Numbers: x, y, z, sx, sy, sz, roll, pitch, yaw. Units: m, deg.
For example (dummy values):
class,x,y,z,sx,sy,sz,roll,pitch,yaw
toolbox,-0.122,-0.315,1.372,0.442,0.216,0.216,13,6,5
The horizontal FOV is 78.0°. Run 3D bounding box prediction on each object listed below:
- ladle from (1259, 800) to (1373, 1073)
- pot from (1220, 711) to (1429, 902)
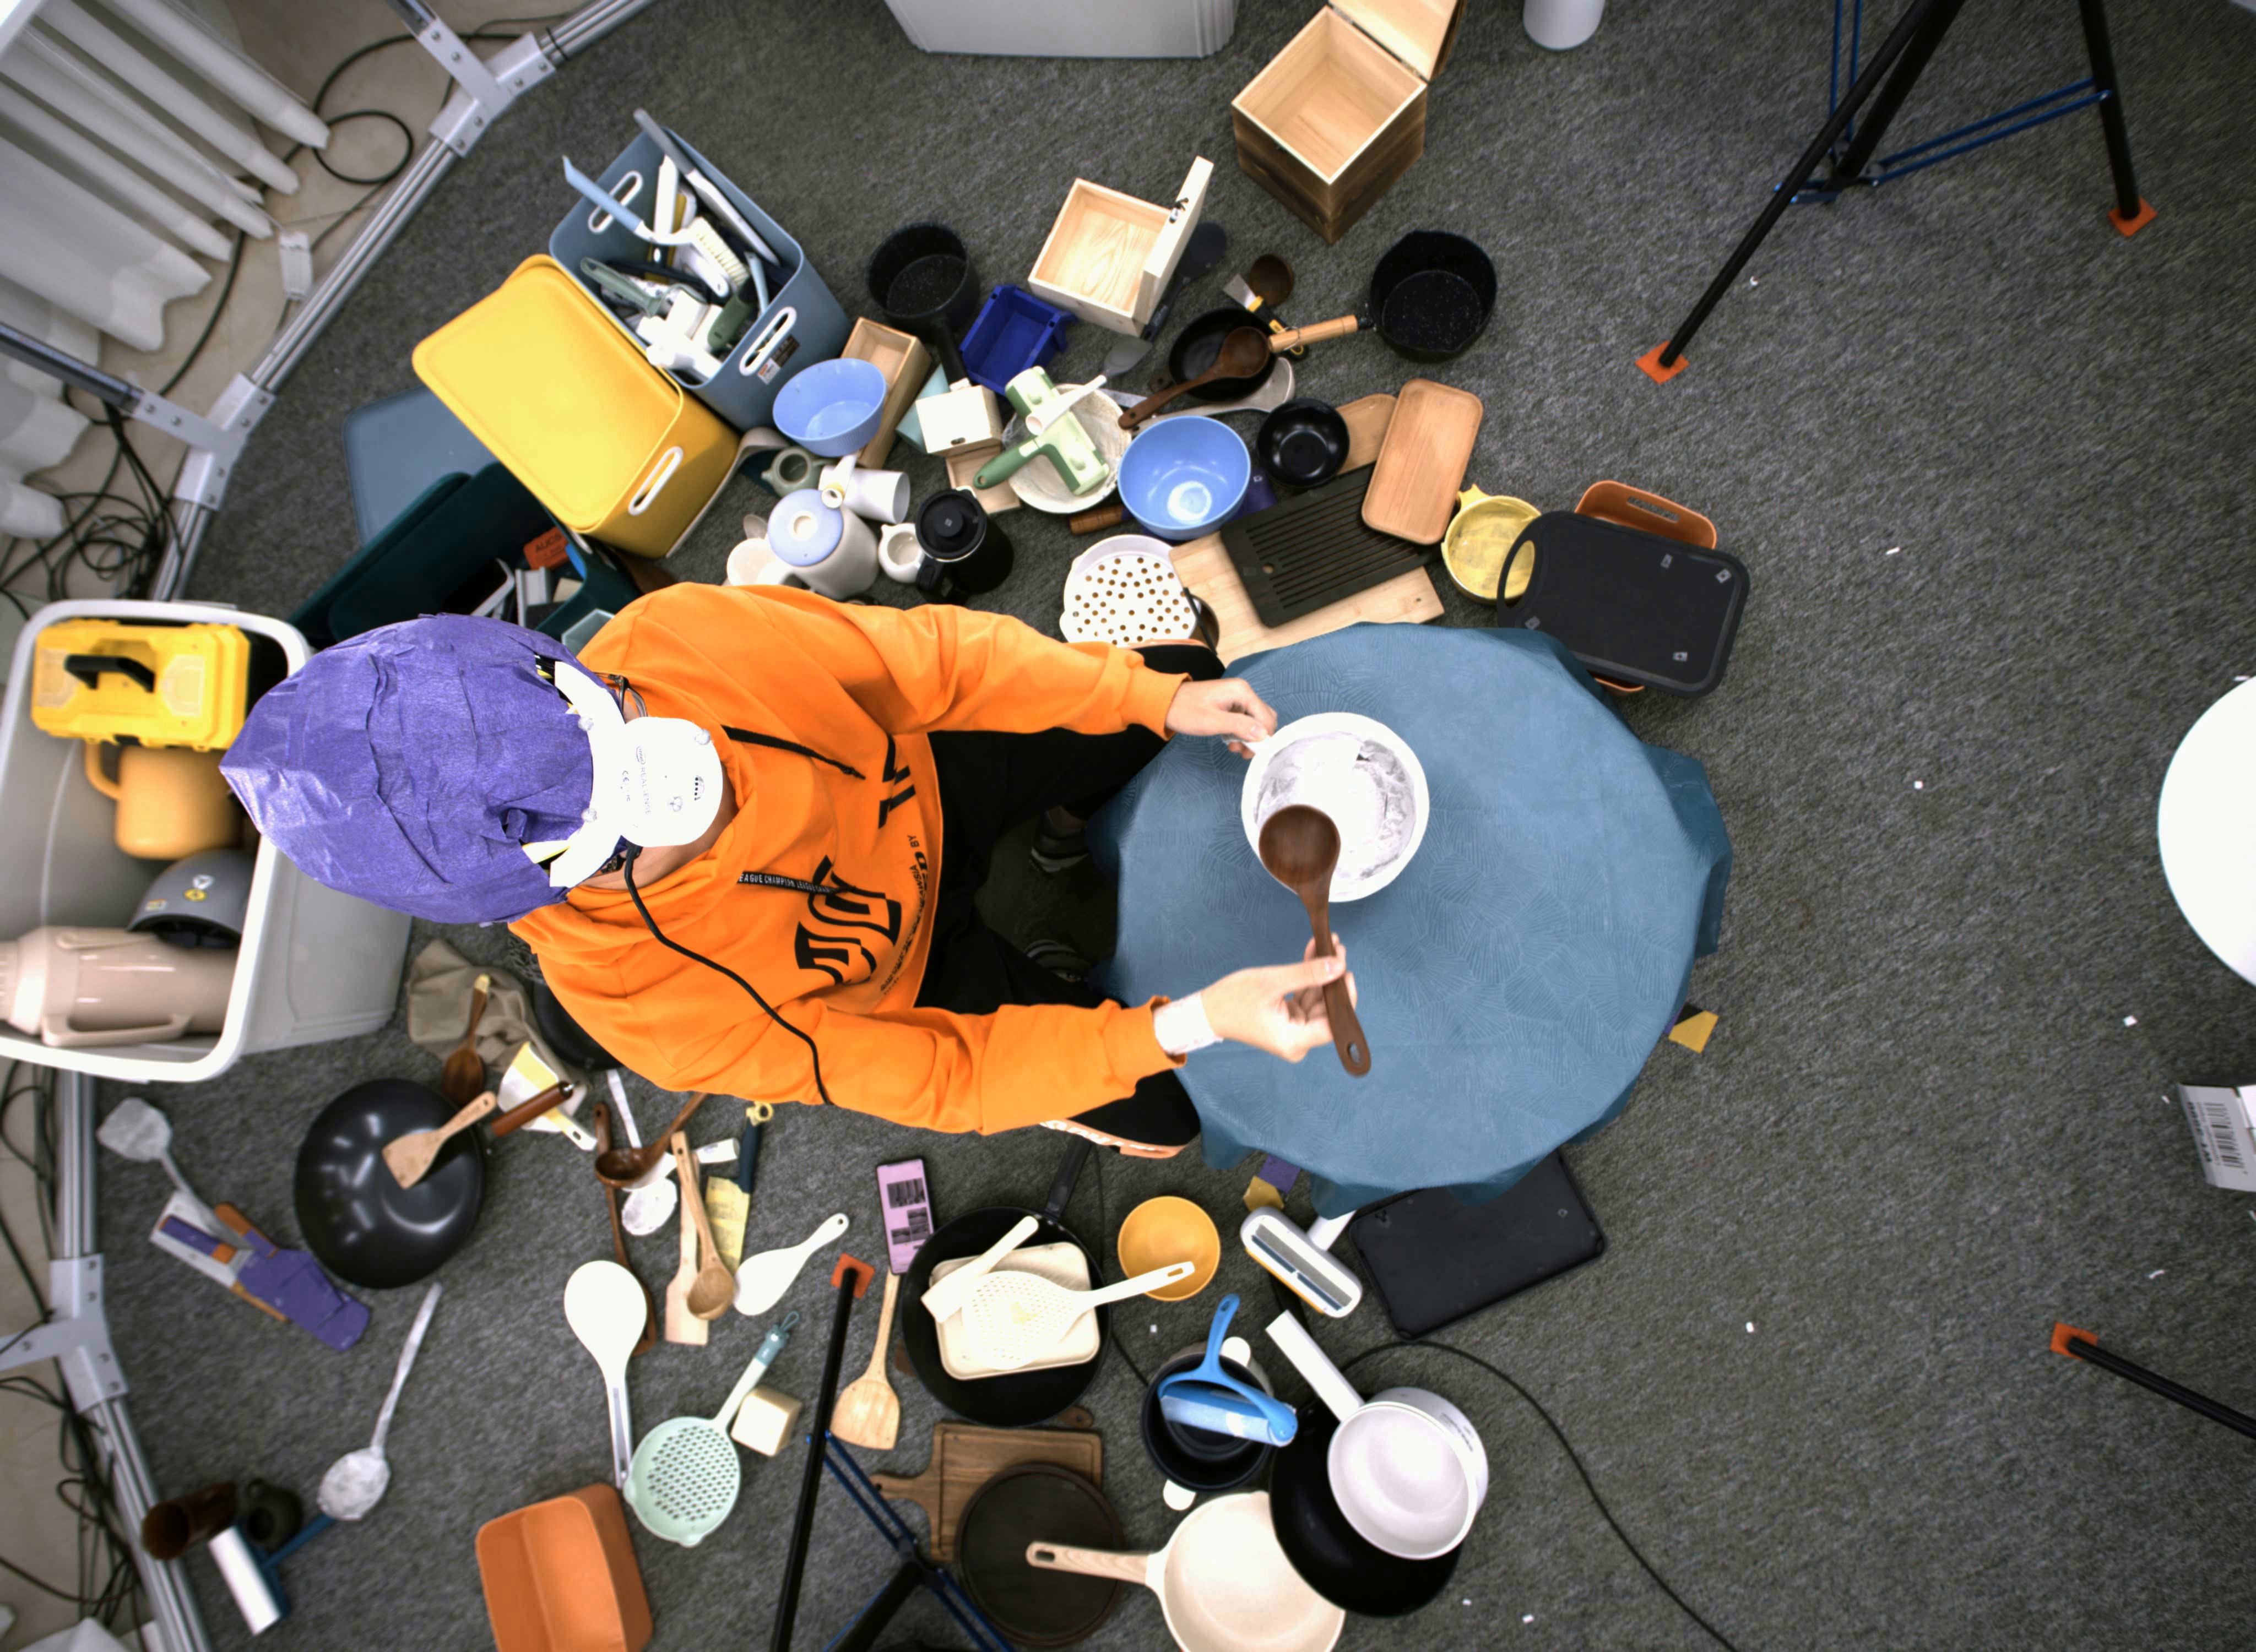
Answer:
class,x,y,z,sx,sy,sz,roll,pitch,yaw
ladle,0.167,0.089,1.200,0.077,0.066,0.254,-26,49,23
pot,0.183,-0.033,1.375,0.233,0.137,0.179,41,92,9
